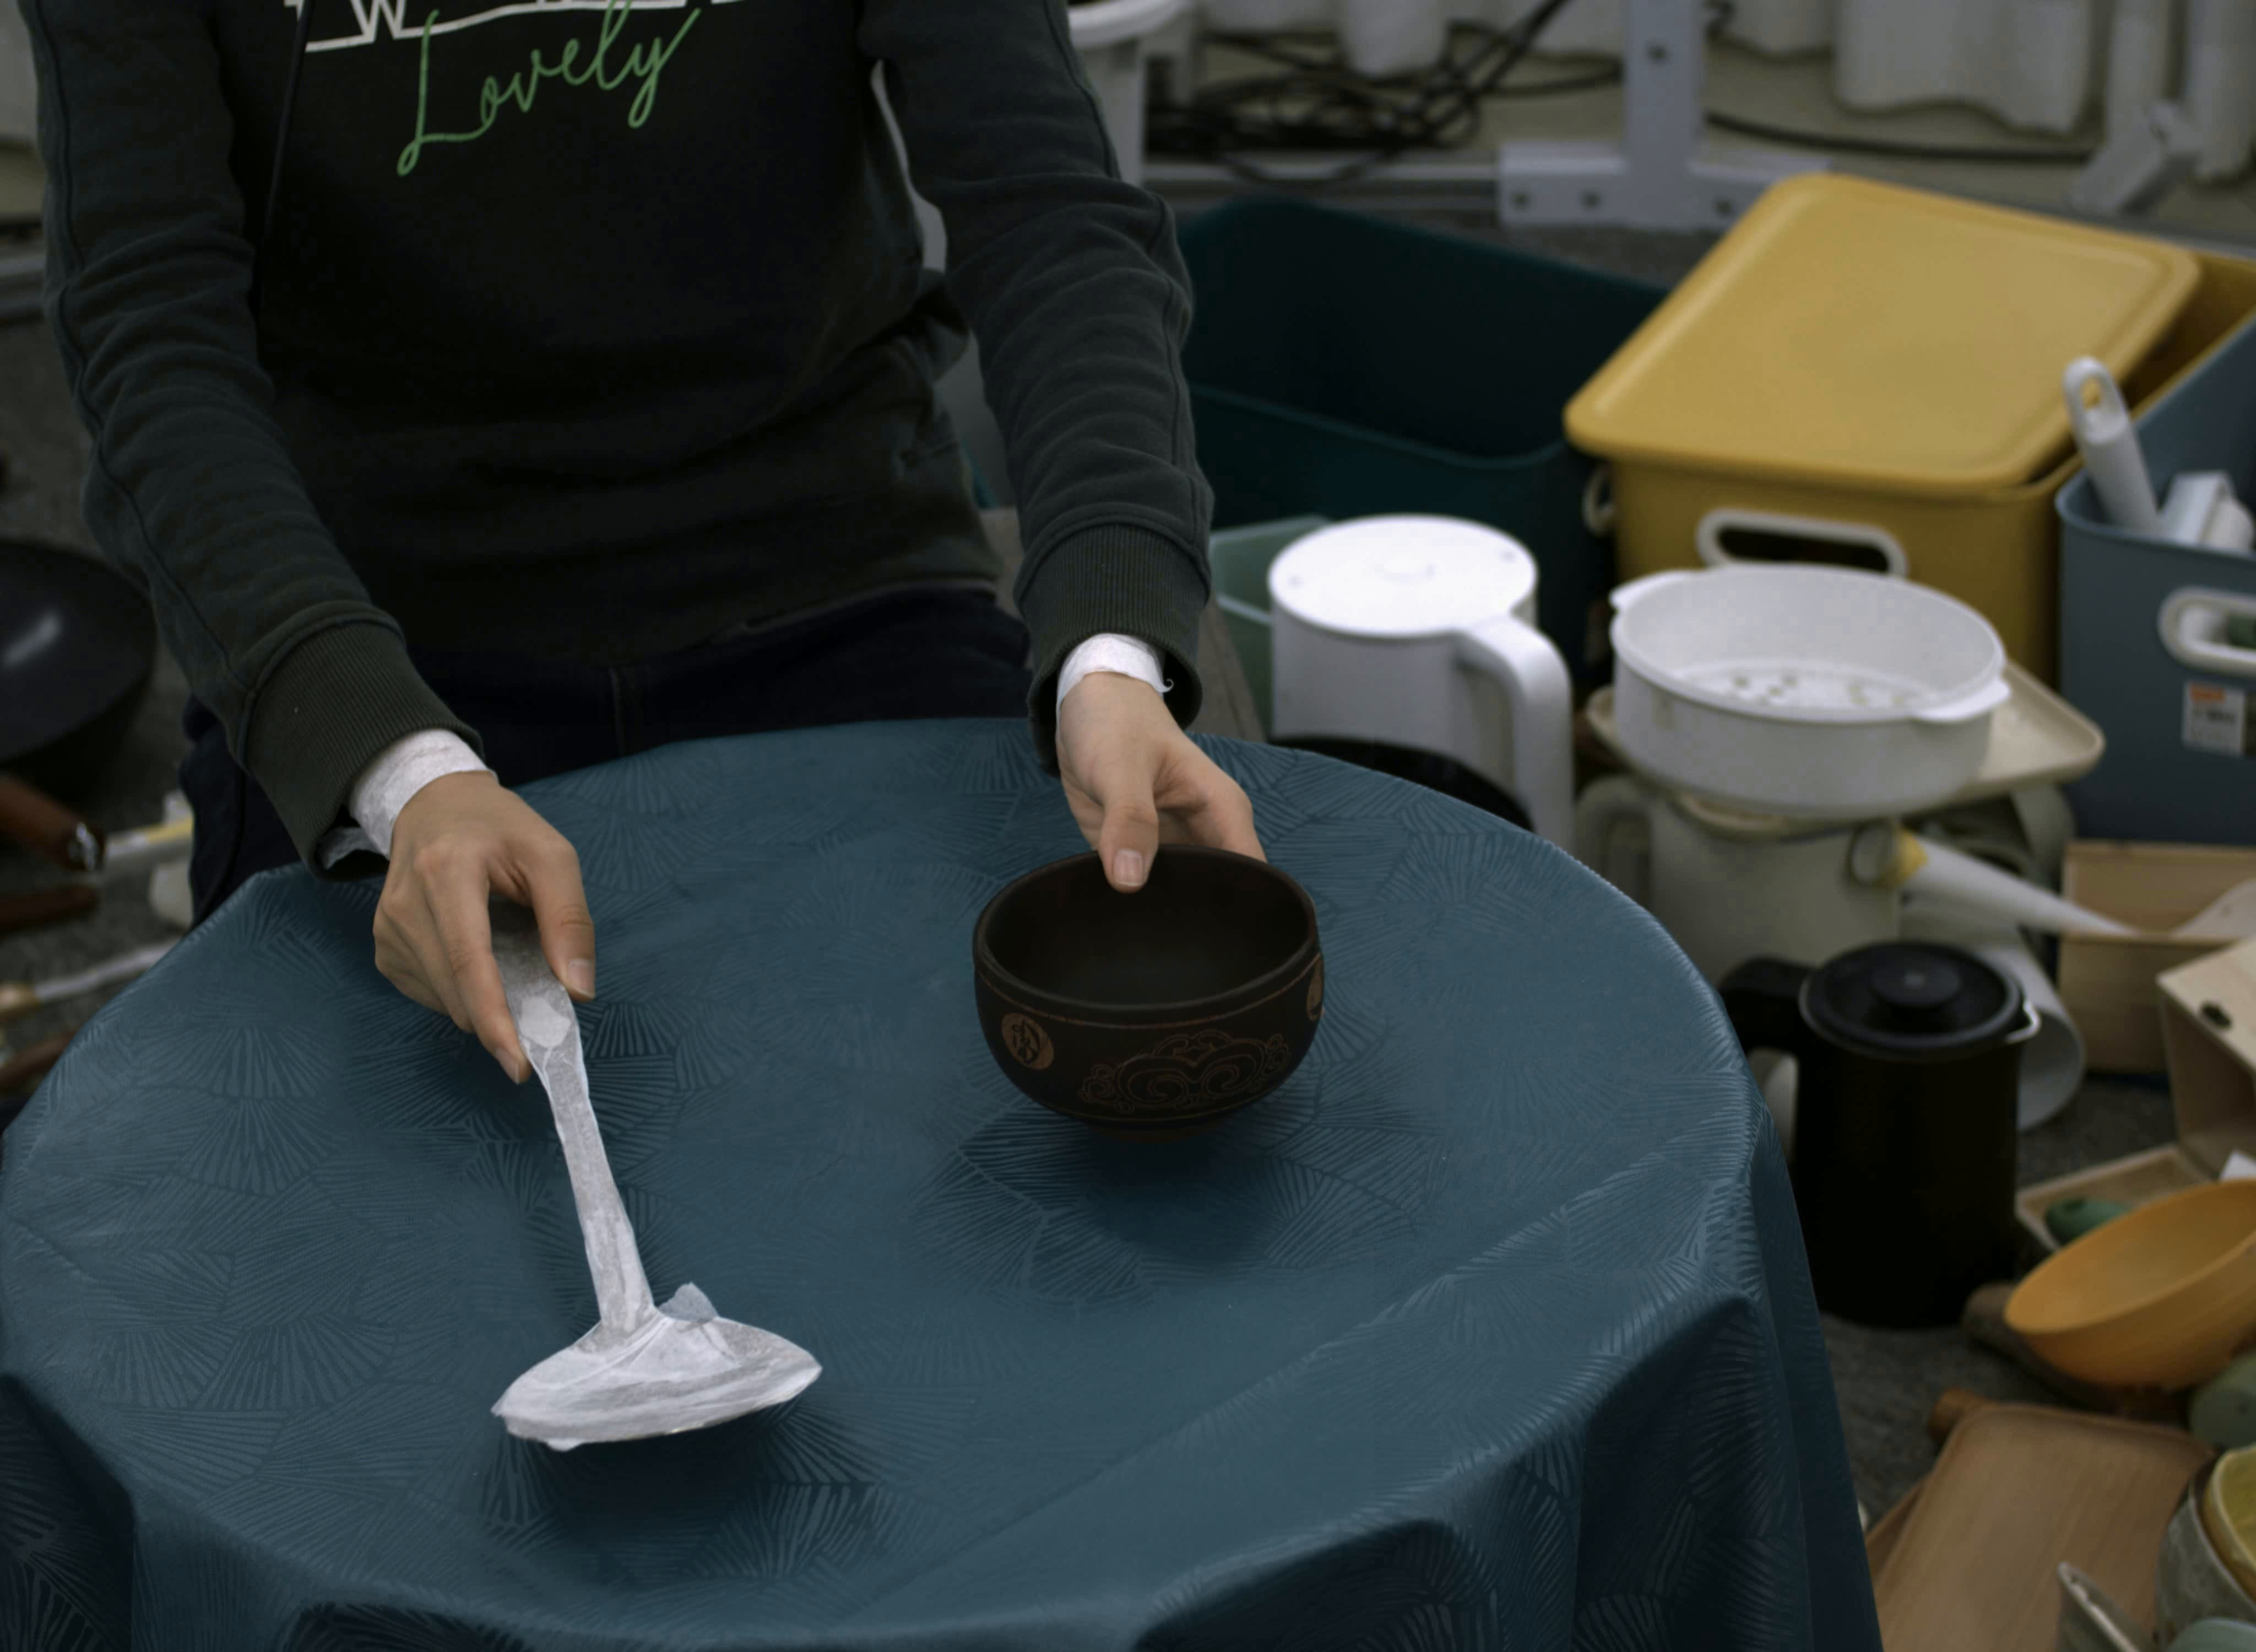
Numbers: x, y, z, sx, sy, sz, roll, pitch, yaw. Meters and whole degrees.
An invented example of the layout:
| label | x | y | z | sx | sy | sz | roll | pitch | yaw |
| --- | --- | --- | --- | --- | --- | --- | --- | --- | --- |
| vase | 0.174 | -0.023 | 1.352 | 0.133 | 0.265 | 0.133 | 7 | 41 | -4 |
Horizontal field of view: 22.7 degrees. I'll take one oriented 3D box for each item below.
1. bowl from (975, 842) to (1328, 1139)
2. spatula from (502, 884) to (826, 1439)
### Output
| label | x | y | z | sx | sy | sz | roll | pitch | yaw |
| --- | --- | --- | --- | --- | --- | --- | --- | --- | --- |
| bowl | 0.008 | 0.061 | 1.875 | 0.117 | 0.069 | 0.120 | -1 | 25 | 1 |
| spatula | -0.174 | 0.100 | 1.836 | 0.098 | 0.044 | 0.370 | -11 | 33 | -9 |
